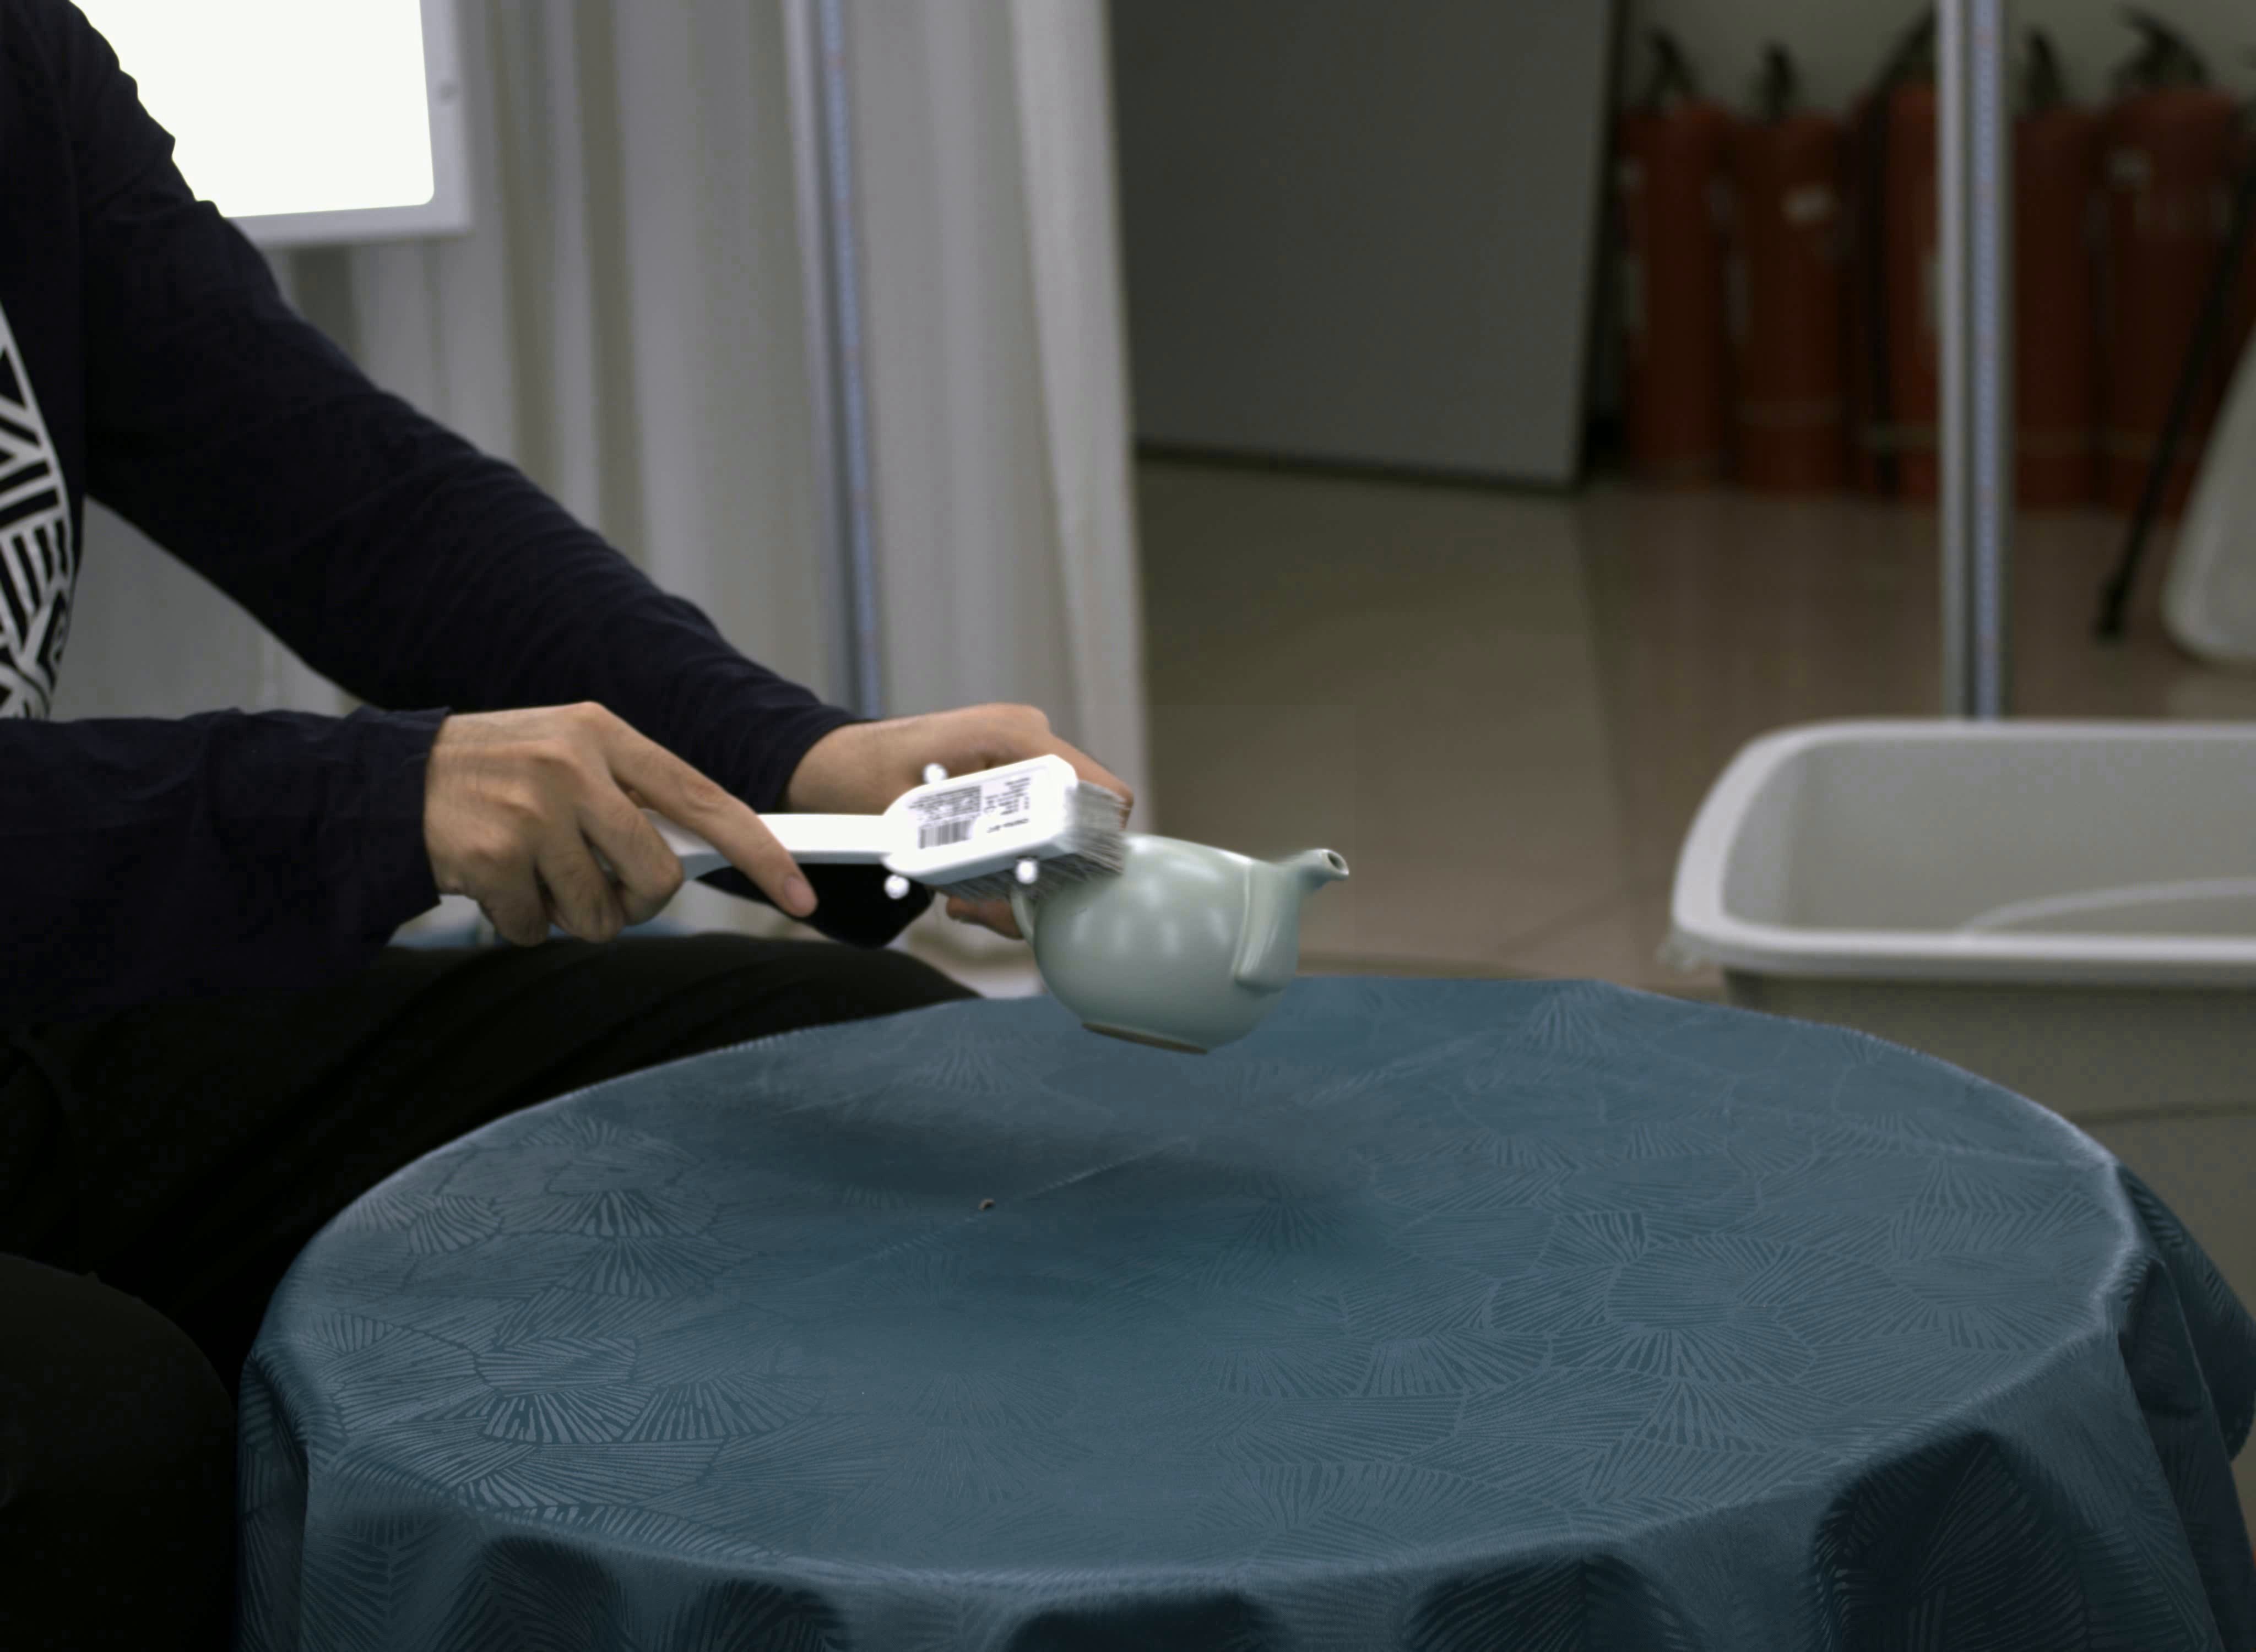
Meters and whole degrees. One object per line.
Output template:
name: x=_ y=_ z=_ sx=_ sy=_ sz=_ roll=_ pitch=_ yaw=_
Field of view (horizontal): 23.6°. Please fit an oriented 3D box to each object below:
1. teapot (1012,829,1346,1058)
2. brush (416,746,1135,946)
teapot: x=0.012 y=0.036 z=1.780 sx=0.086 sy=0.075 sz=0.145 roll=16 pitch=-6 yaw=-42
brush: x=-0.114 y=0.015 z=1.772 sx=0.243 sy=0.035 sz=0.050 roll=-11 pitch=-23 yaw=16
